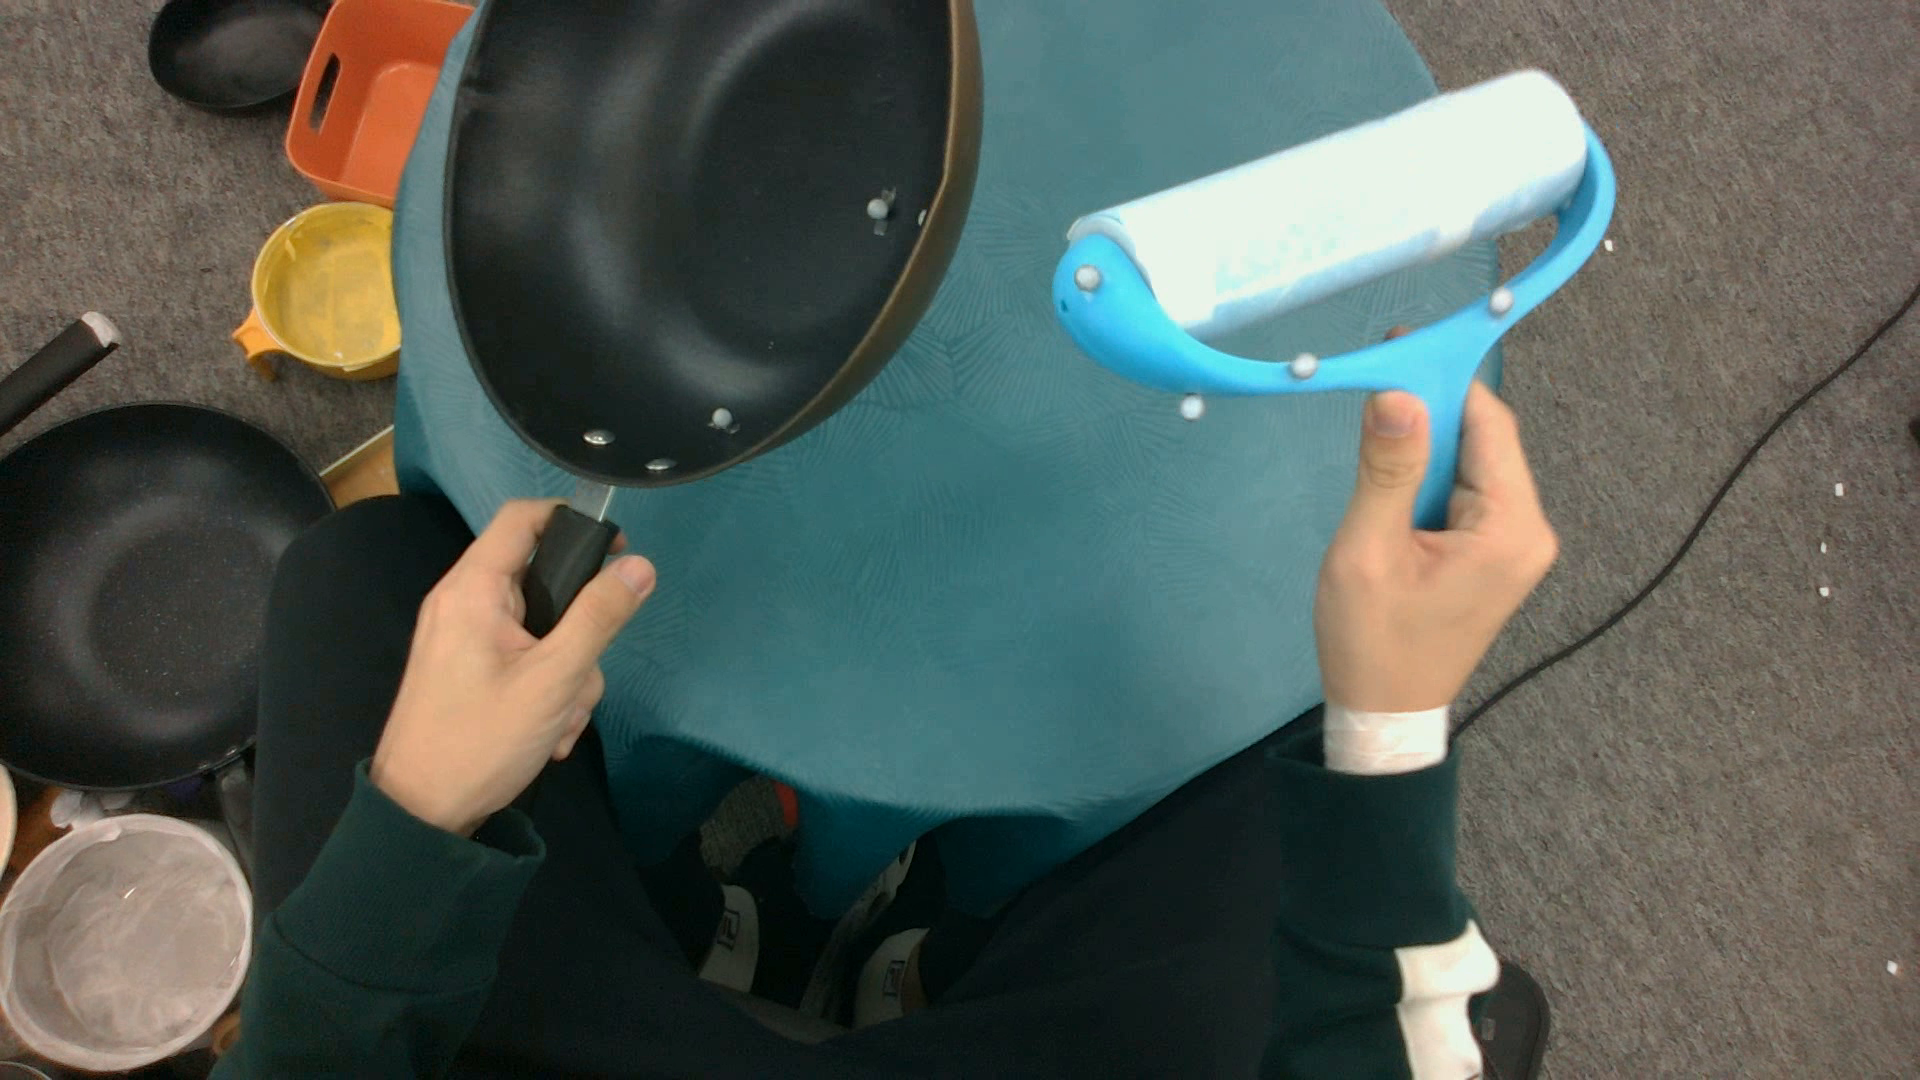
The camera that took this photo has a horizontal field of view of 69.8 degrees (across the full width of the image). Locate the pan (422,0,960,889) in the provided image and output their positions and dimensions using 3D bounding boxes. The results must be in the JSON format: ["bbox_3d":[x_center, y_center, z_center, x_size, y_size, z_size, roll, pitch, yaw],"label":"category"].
[{"bbox_3d":[-0.127,-0.073,0.575,0.288,0.087,0.462,20,99,34],"label":"pan"}]

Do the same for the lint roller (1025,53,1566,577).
[{"bbox_3d":[0.143,-0.070,0.505,0.230,0.068,0.180,-27,103,-24],"label":"lint roller"}]
